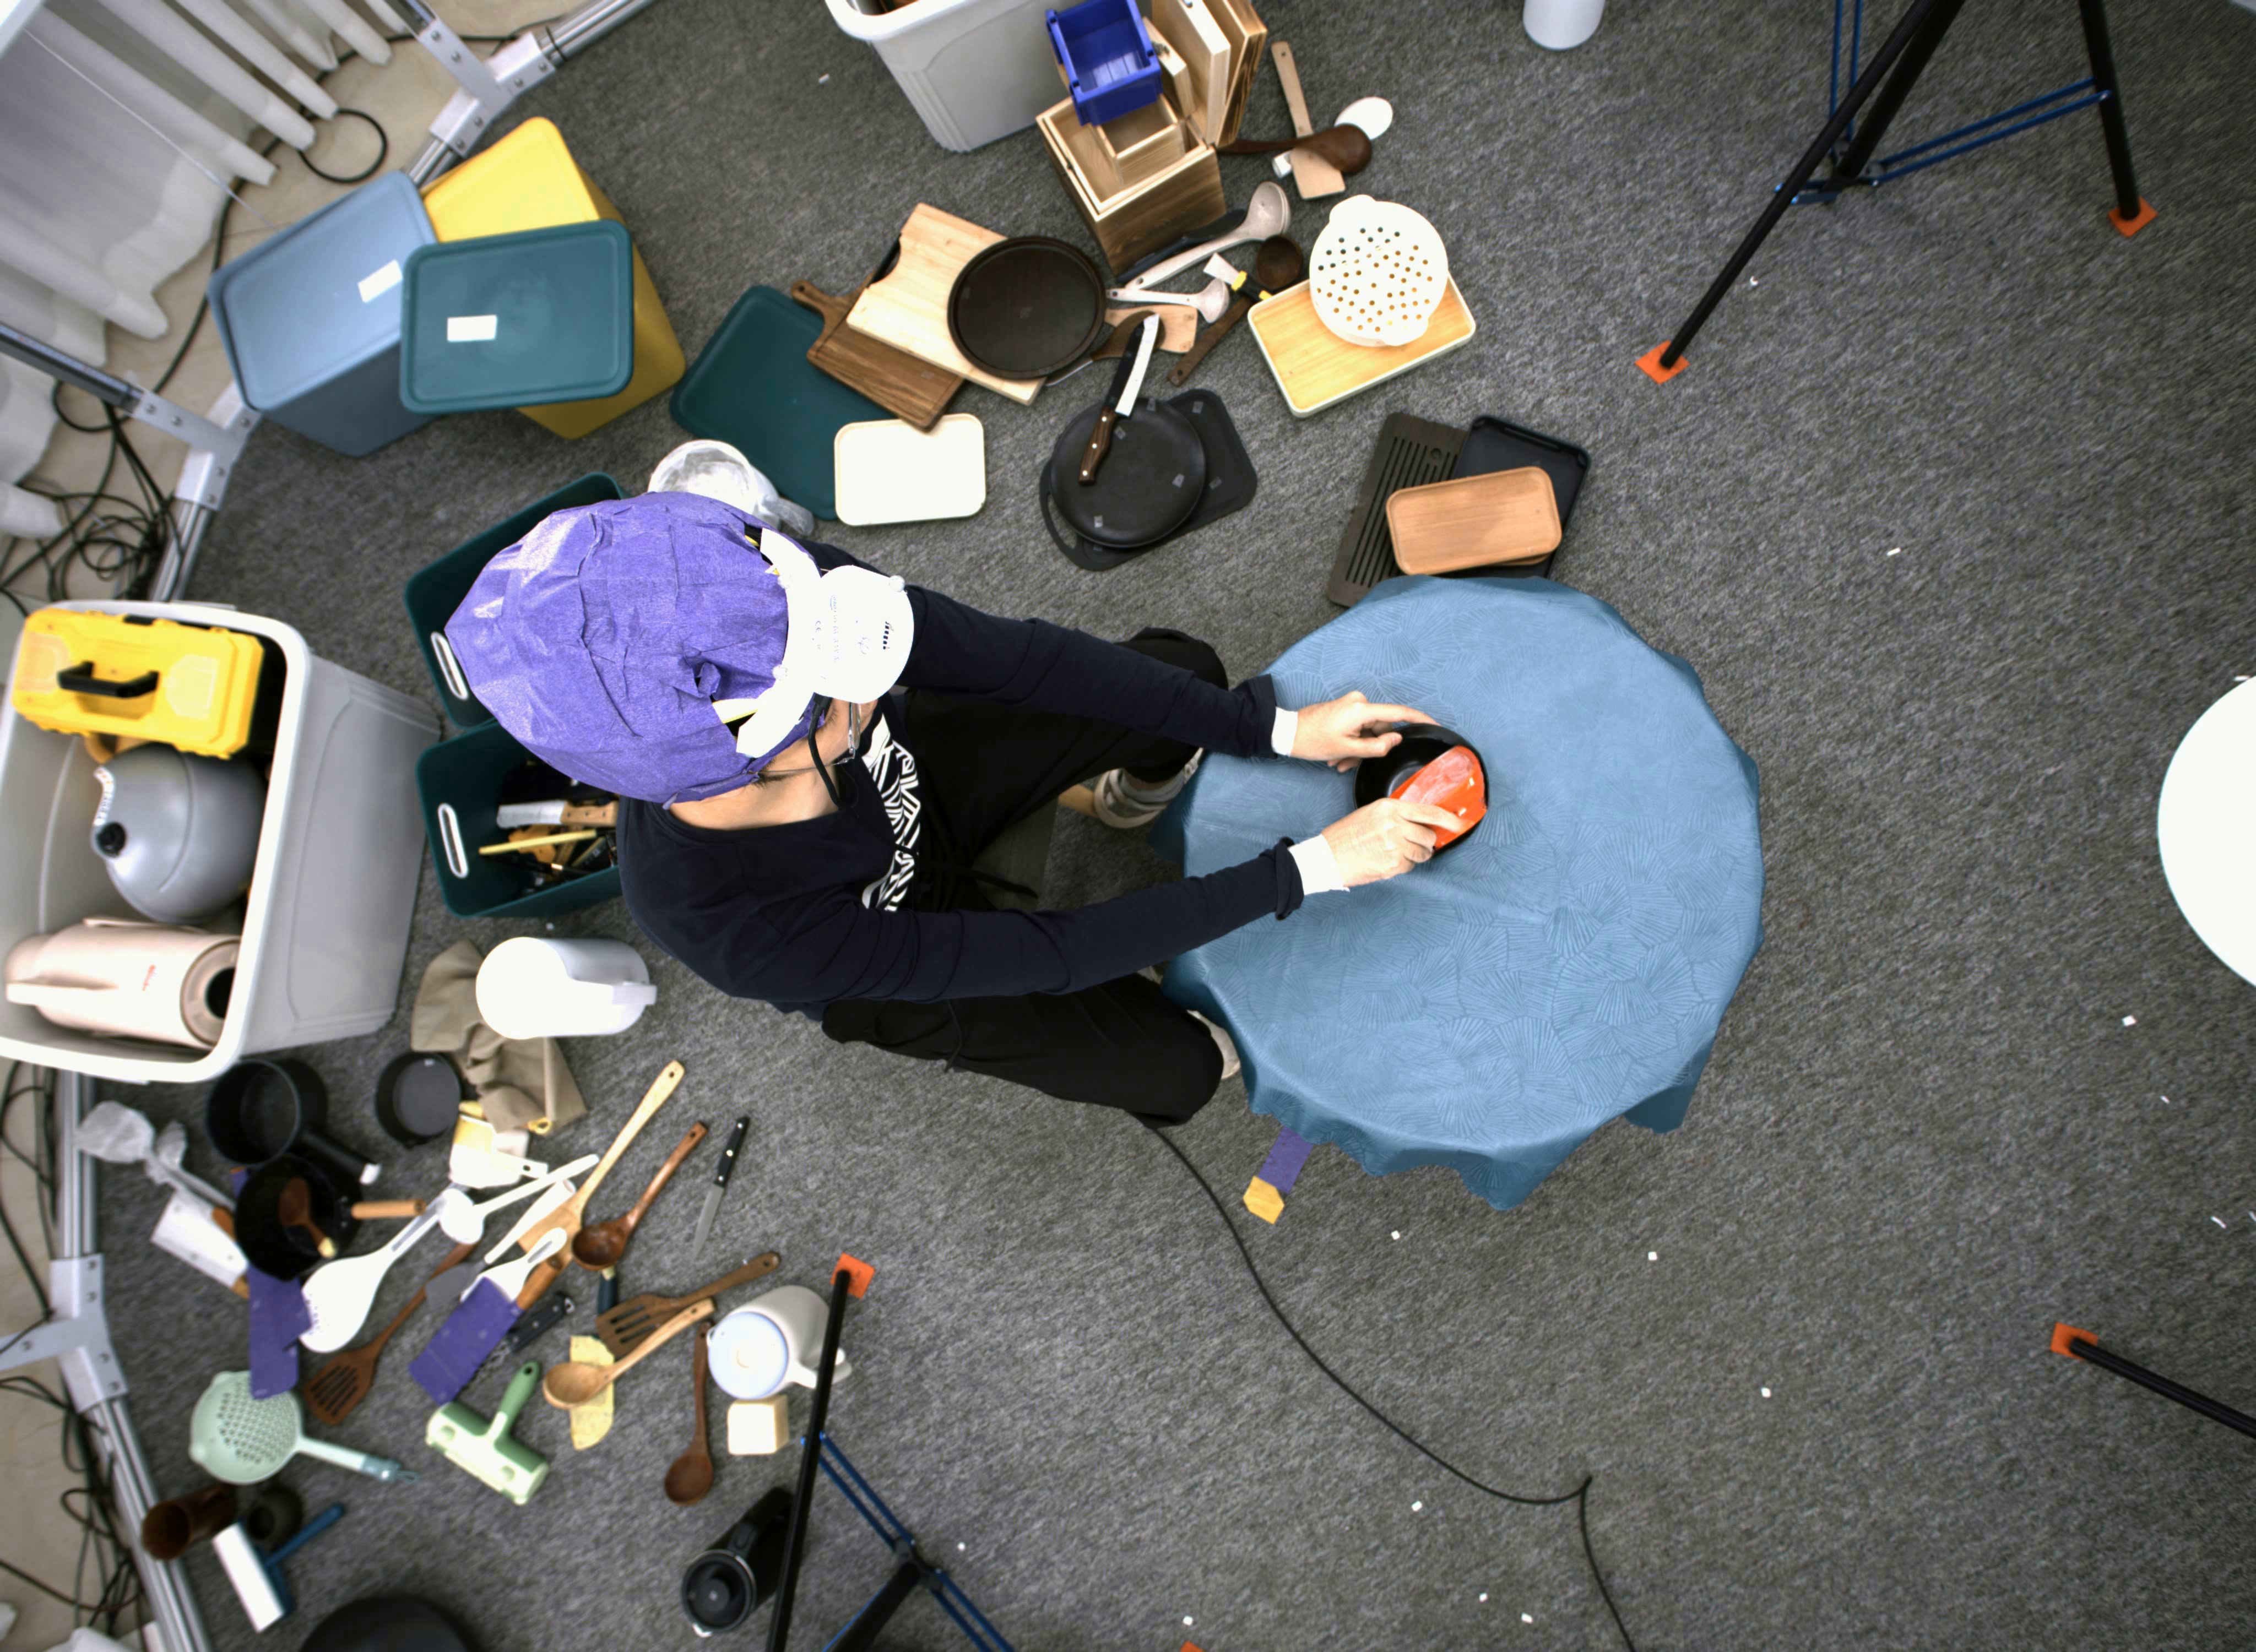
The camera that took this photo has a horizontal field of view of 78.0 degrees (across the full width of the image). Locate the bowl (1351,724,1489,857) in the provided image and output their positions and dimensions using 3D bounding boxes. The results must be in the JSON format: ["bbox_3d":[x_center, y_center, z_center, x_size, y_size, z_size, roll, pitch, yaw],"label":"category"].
[{"bbox_3d":[0.305,-0.036,1.437,0.141,0.050,0.139,-2,85,15],"label":"bowl"}]

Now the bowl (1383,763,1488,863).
[{"bbox_3d":[0.316,-0.008,1.377,0.119,0.117,0.052,-36,110,5],"label":"bowl"}]
